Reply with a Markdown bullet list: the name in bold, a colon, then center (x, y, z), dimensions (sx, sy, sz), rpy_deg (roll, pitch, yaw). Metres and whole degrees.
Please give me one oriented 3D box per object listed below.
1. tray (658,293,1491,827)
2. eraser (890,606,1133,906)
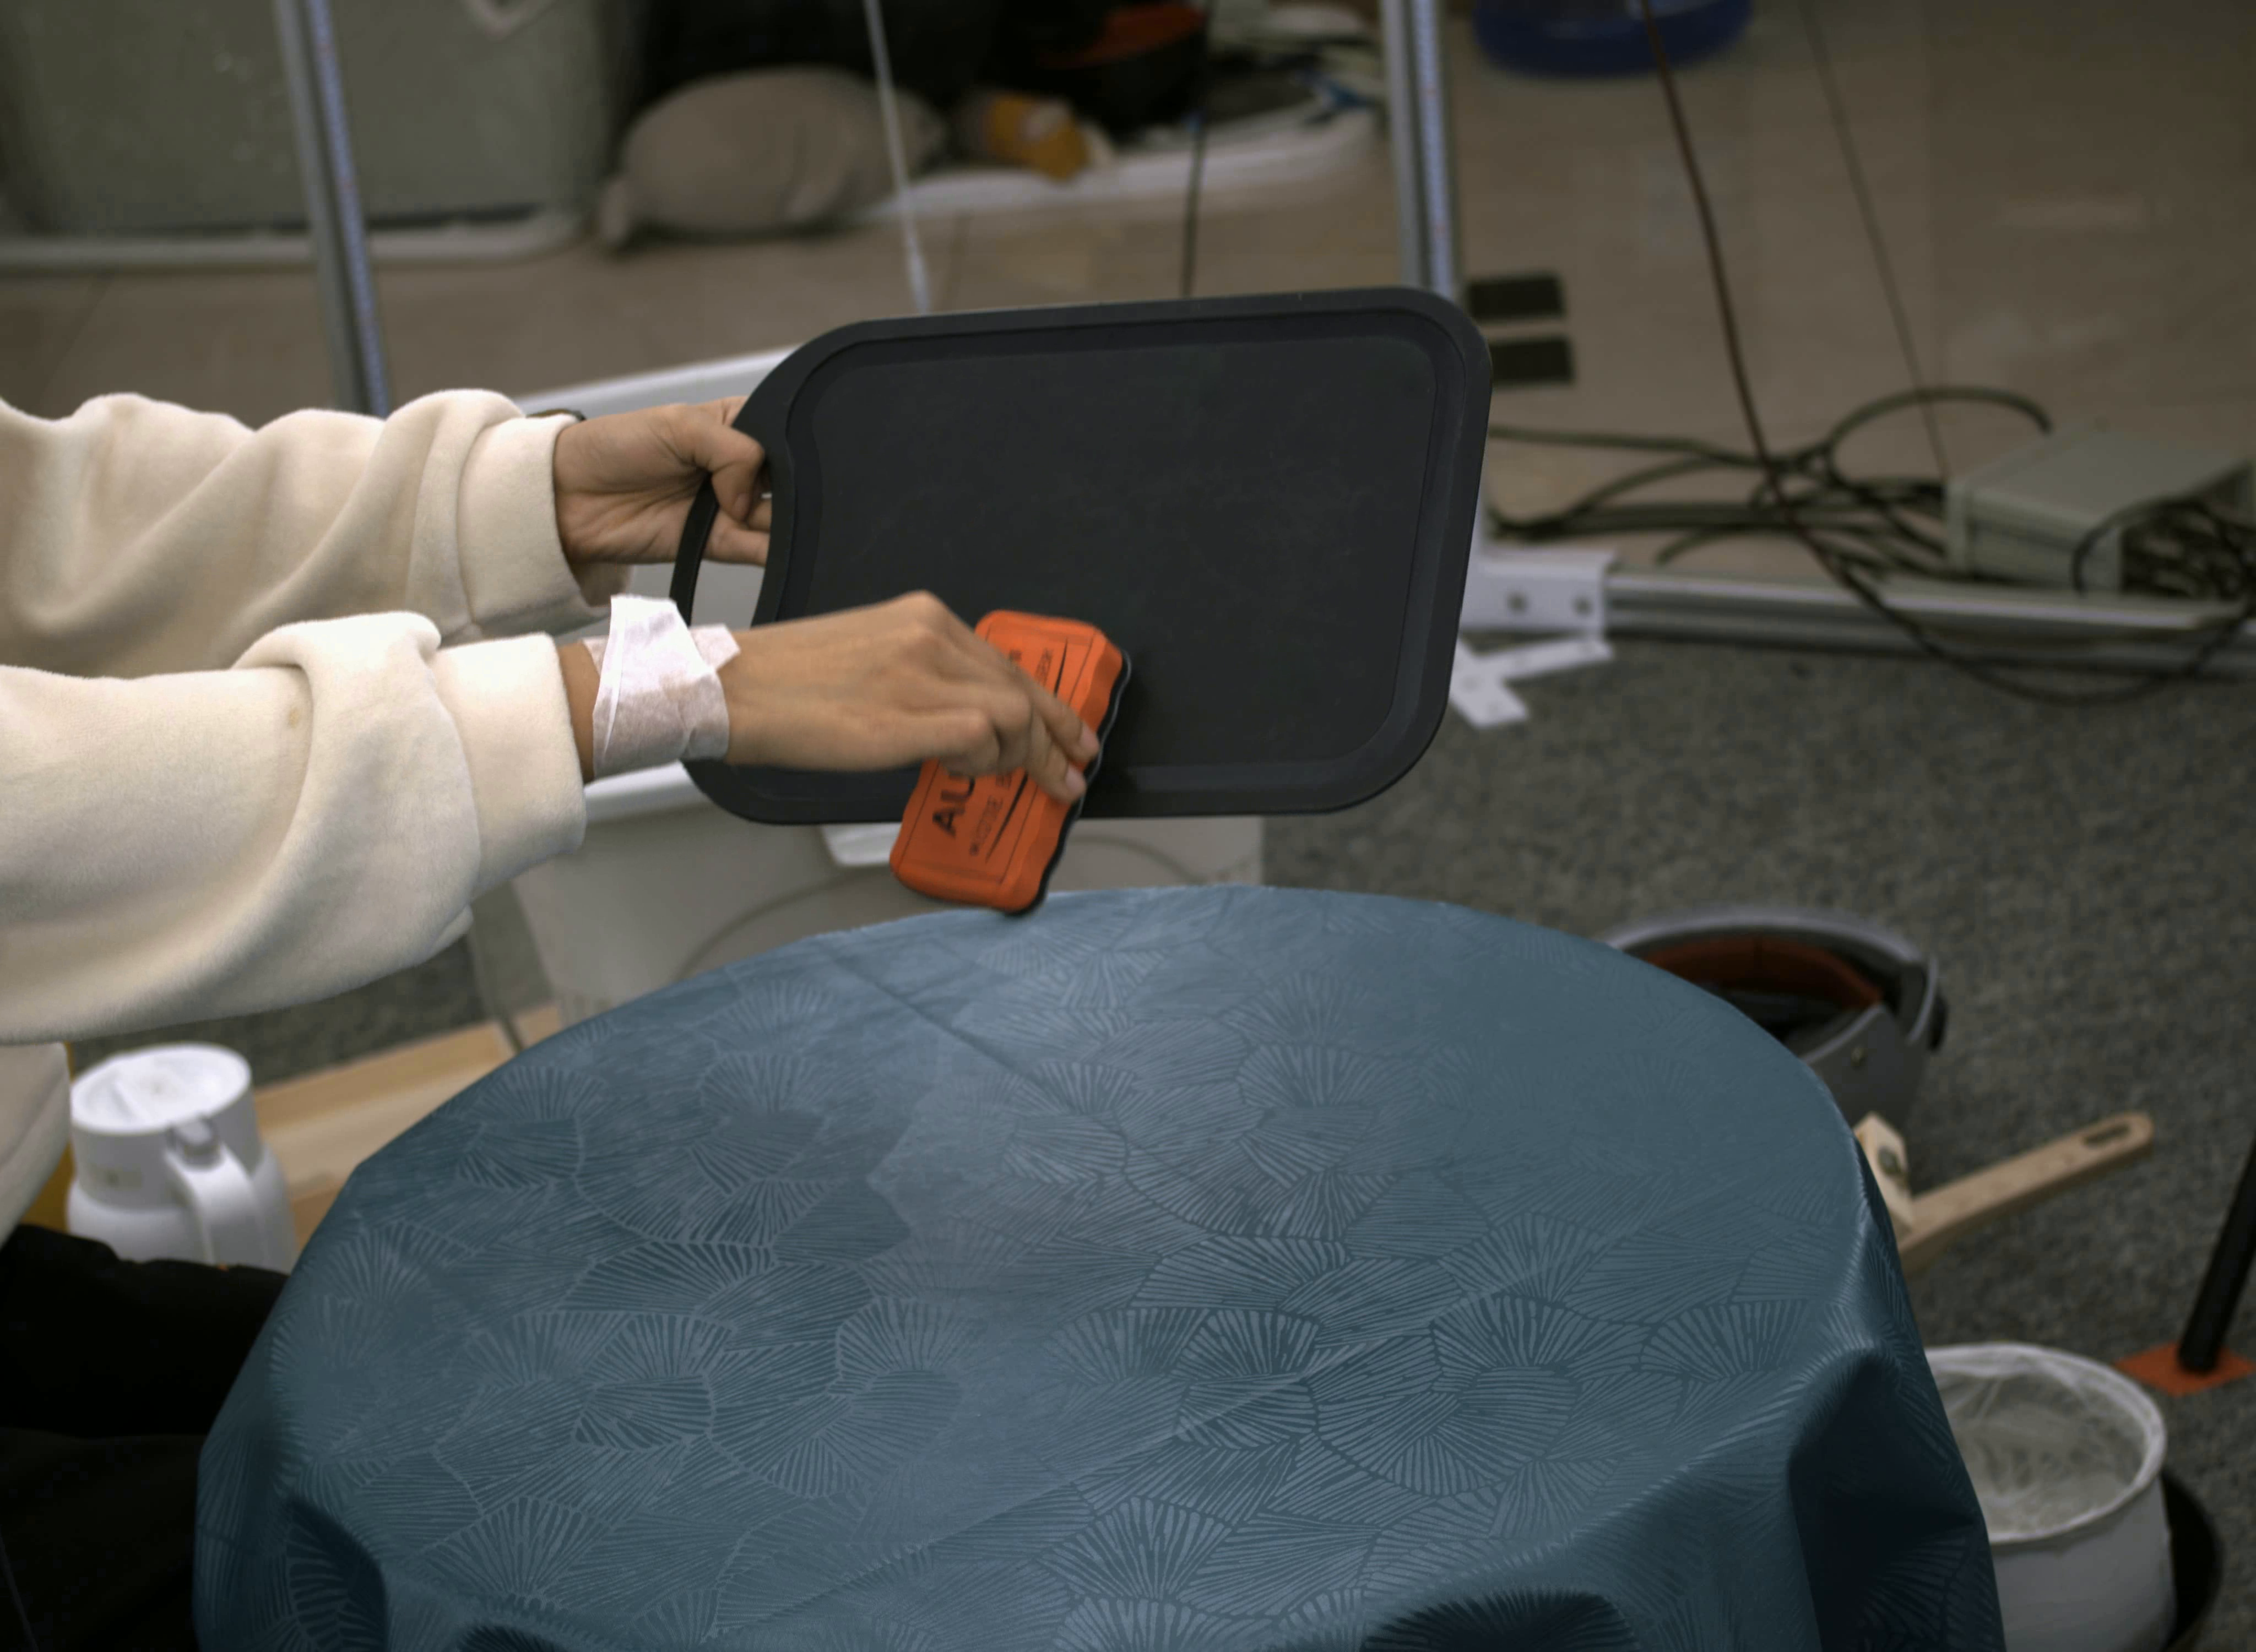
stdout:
- **tray**: center (-0.028, -0.097, 2.072), dimensions (0.325, 0.010, 0.209), rpy_deg (0, 69, 25)
- **eraser**: center (-0.042, -0.026, 2.032), dimensions (0.058, 0.023, 0.107), rpy_deg (10, 71, 35)
